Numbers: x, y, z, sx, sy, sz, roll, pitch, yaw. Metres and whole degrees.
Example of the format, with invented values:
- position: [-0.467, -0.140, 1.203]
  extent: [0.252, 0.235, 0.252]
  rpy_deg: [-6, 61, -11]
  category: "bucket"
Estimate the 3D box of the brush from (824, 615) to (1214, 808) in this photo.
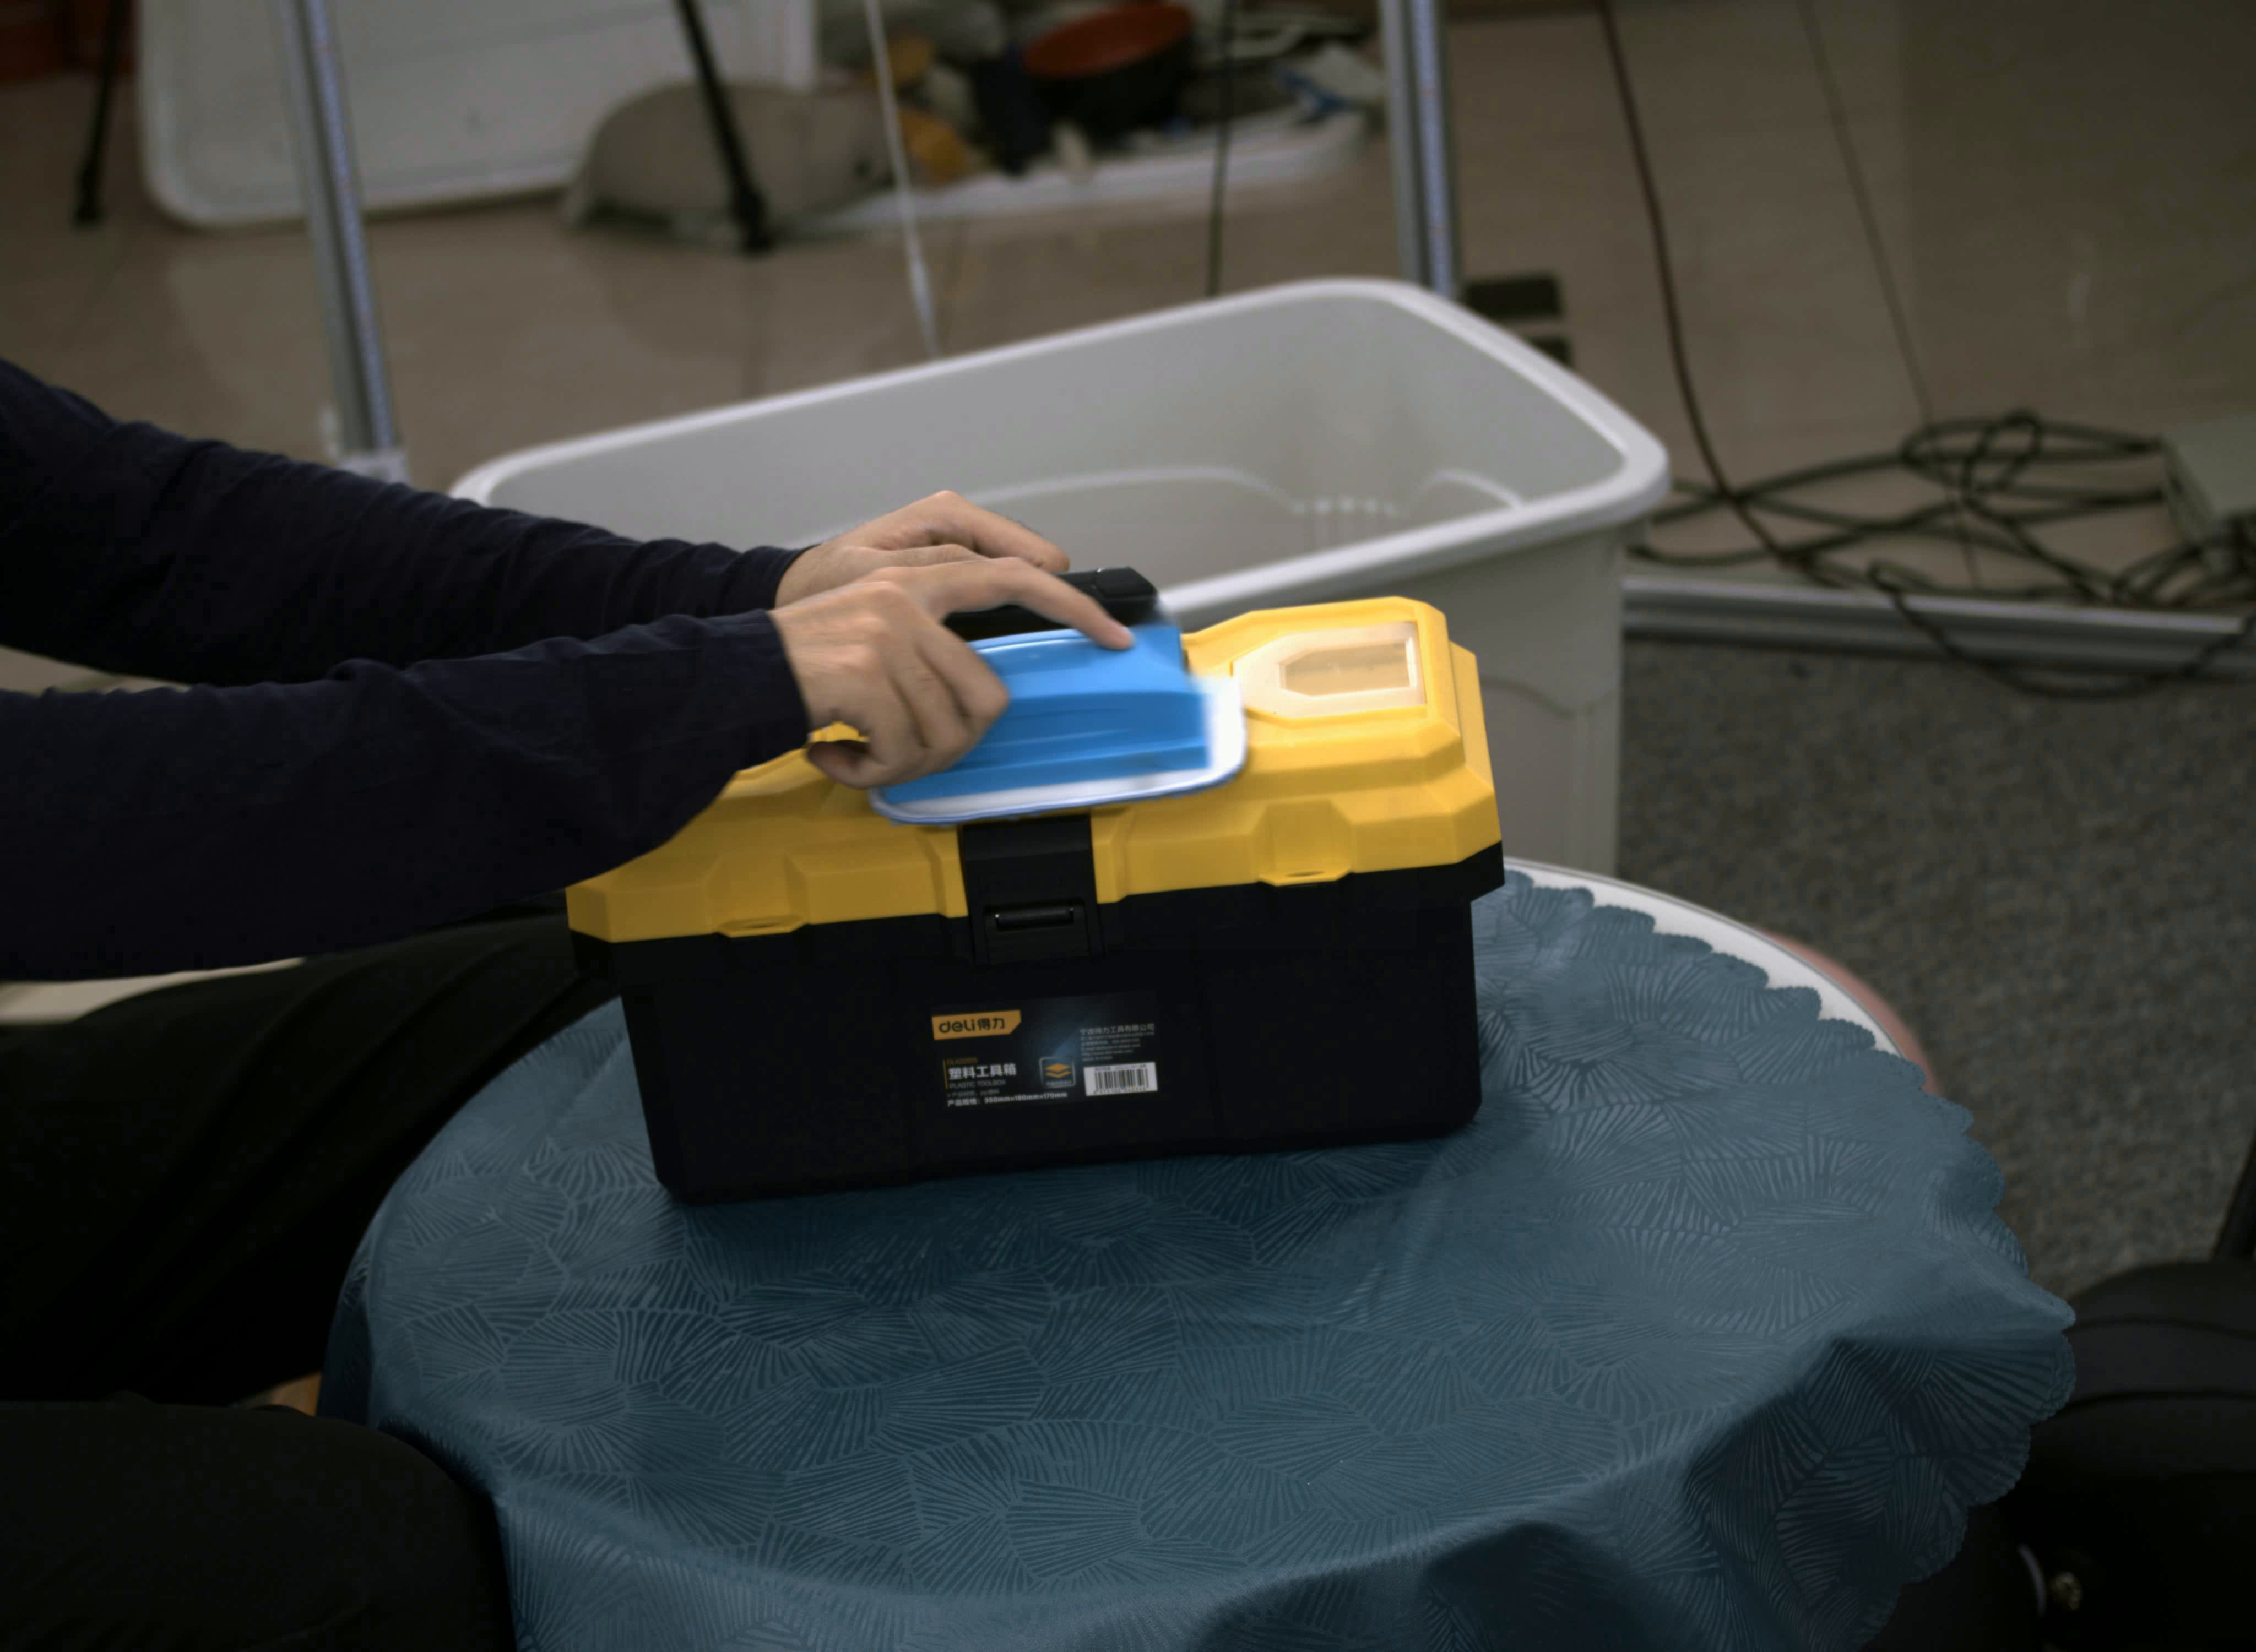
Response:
- position: [-0.041, -0.046, 2.083]
  extent: [0.144, 0.057, 0.082]
  rpy_deg: [-3, 34, 5]
  category: "brush"

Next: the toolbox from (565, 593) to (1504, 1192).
- position: [-0.032, 0.027, 2.182]
  extent: [0.351, 0.175, 0.178]
  rpy_deg: [-5, 25, 2]
  category: "toolbox"
